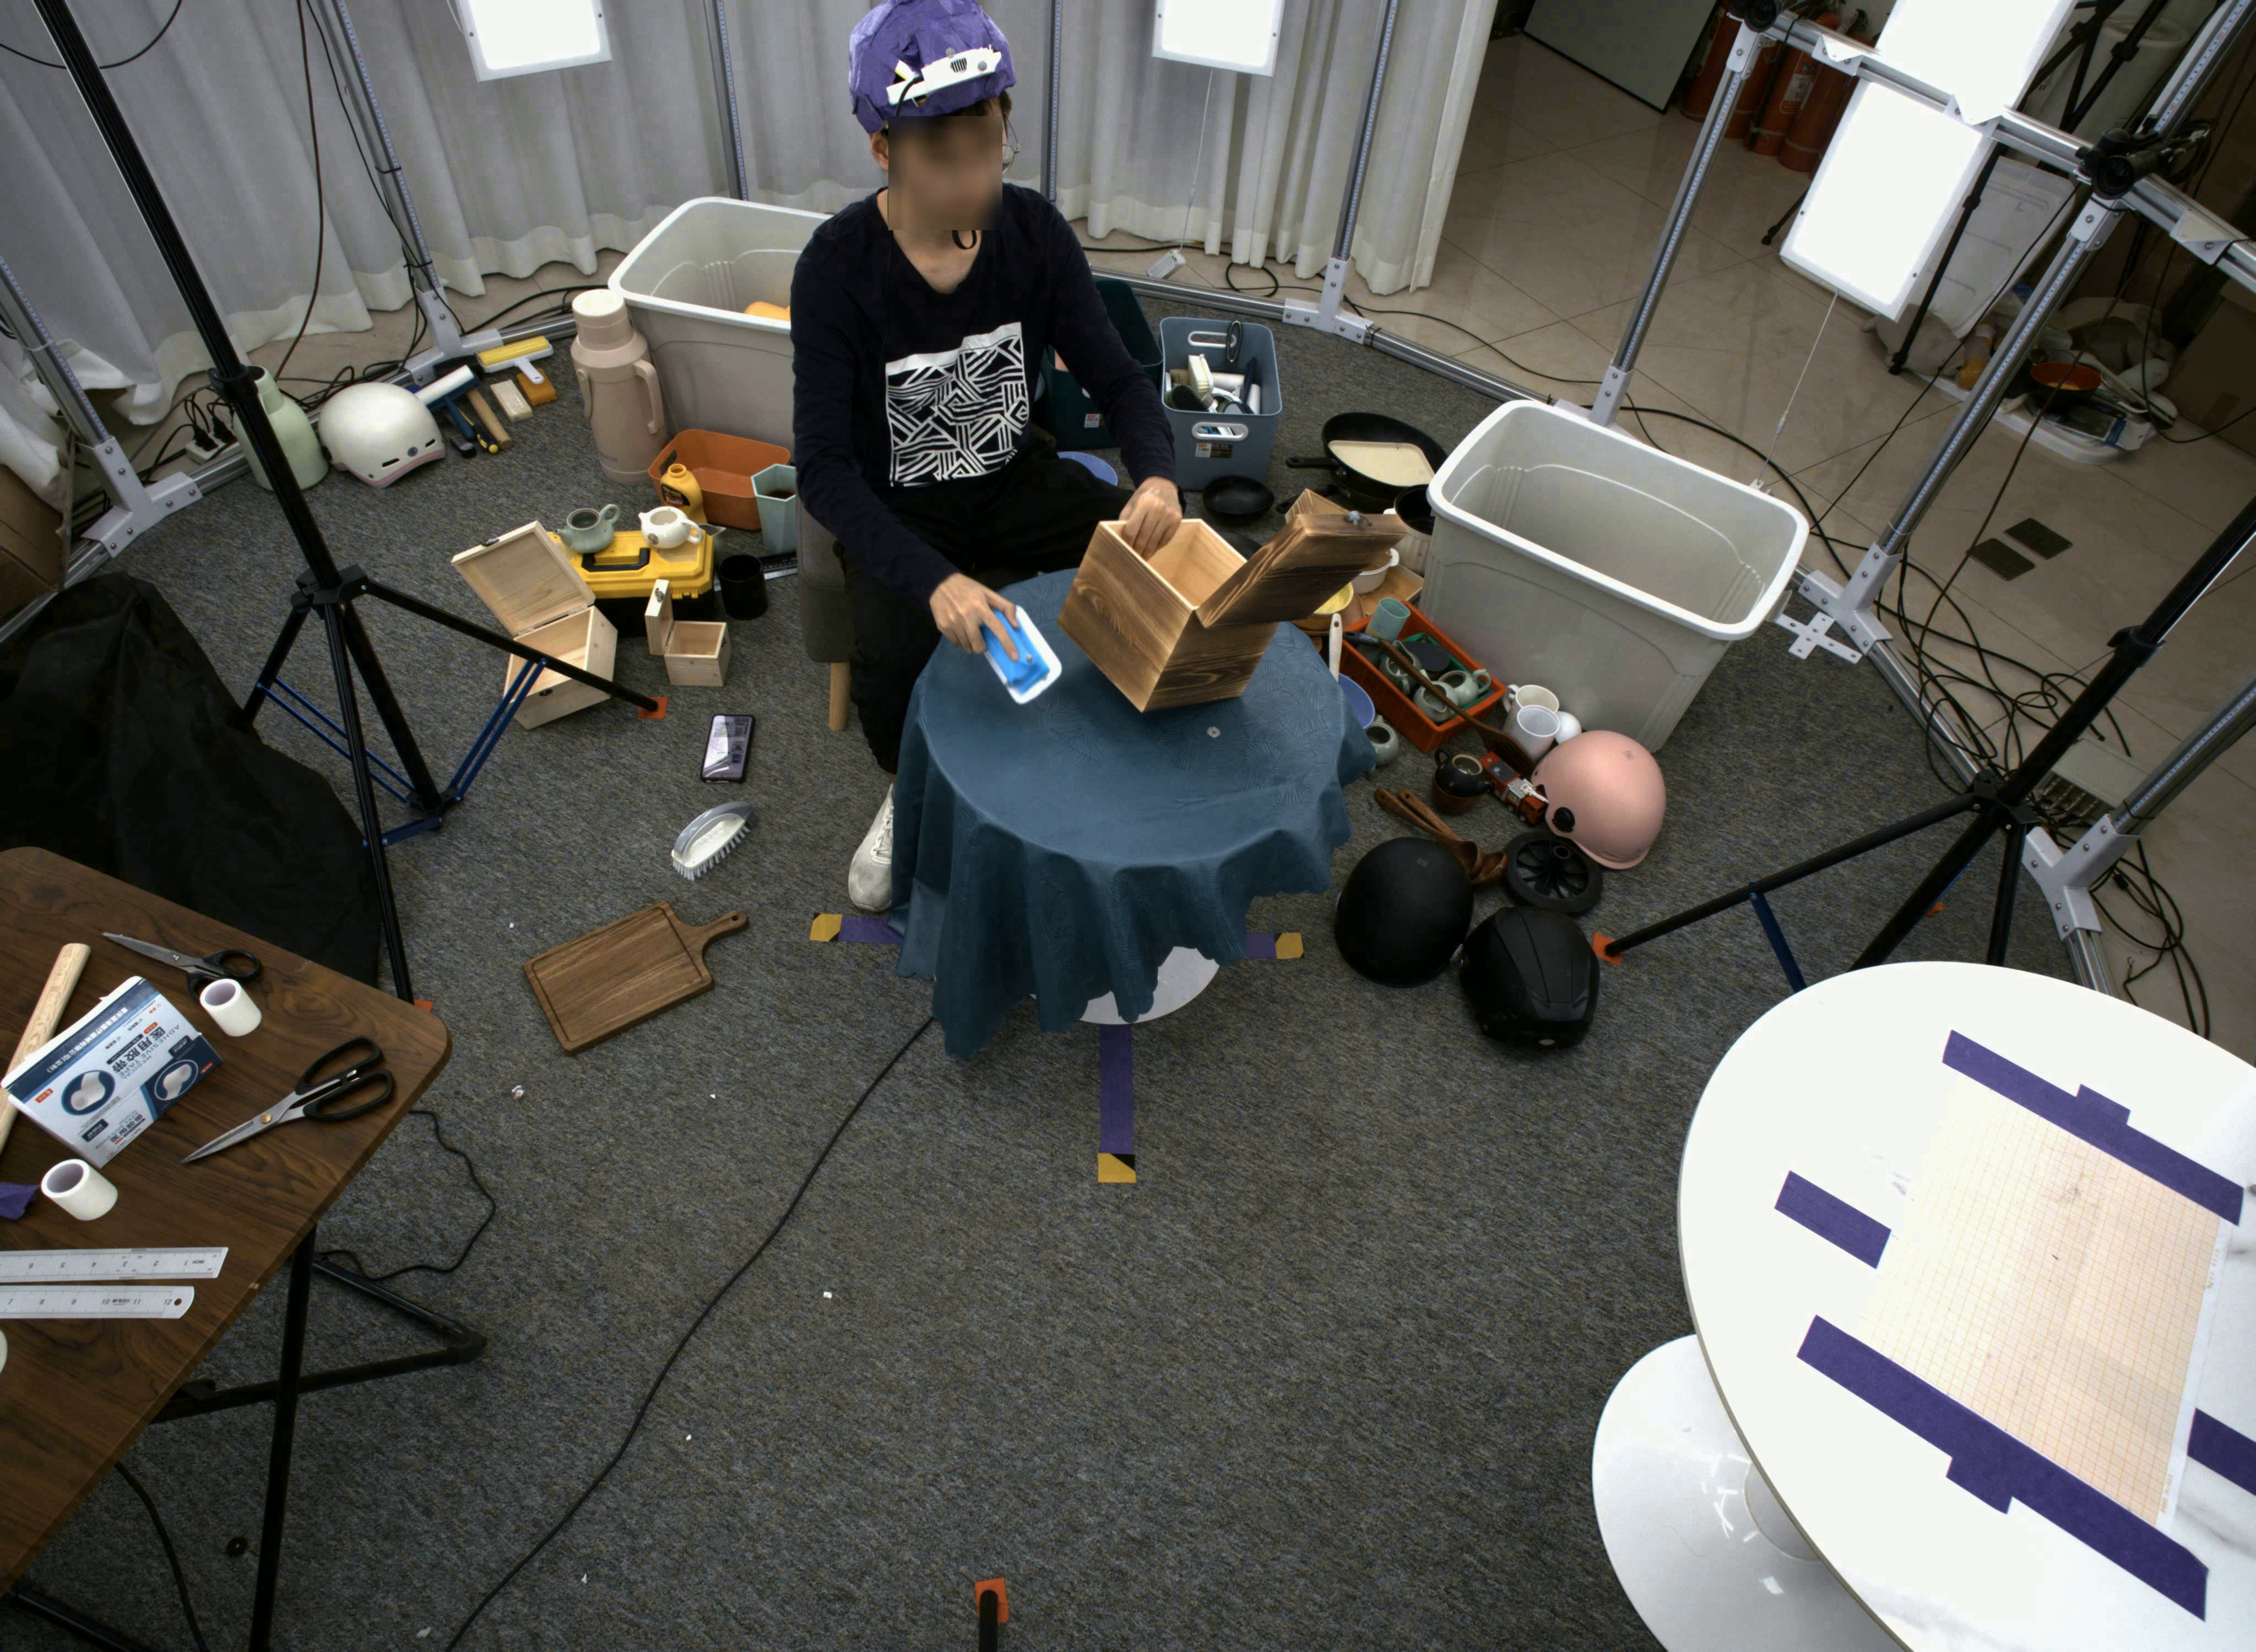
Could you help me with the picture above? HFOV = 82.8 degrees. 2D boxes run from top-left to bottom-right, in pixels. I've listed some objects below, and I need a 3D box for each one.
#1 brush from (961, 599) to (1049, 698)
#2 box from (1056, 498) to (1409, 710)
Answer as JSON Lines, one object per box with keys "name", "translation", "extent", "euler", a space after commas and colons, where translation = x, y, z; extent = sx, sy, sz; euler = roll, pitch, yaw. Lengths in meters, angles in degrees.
{"name": "brush", "translation": [-0.172, -0.246, 1.740], "extent": [0.083, 0.055, 0.147], "euler": [-39, 62, 7]}
{"name": "box", "translation": [0.129, -0.334, 1.701], "extent": [0.208, 0.368, 0.328], "euler": [-11, 48, -44]}
